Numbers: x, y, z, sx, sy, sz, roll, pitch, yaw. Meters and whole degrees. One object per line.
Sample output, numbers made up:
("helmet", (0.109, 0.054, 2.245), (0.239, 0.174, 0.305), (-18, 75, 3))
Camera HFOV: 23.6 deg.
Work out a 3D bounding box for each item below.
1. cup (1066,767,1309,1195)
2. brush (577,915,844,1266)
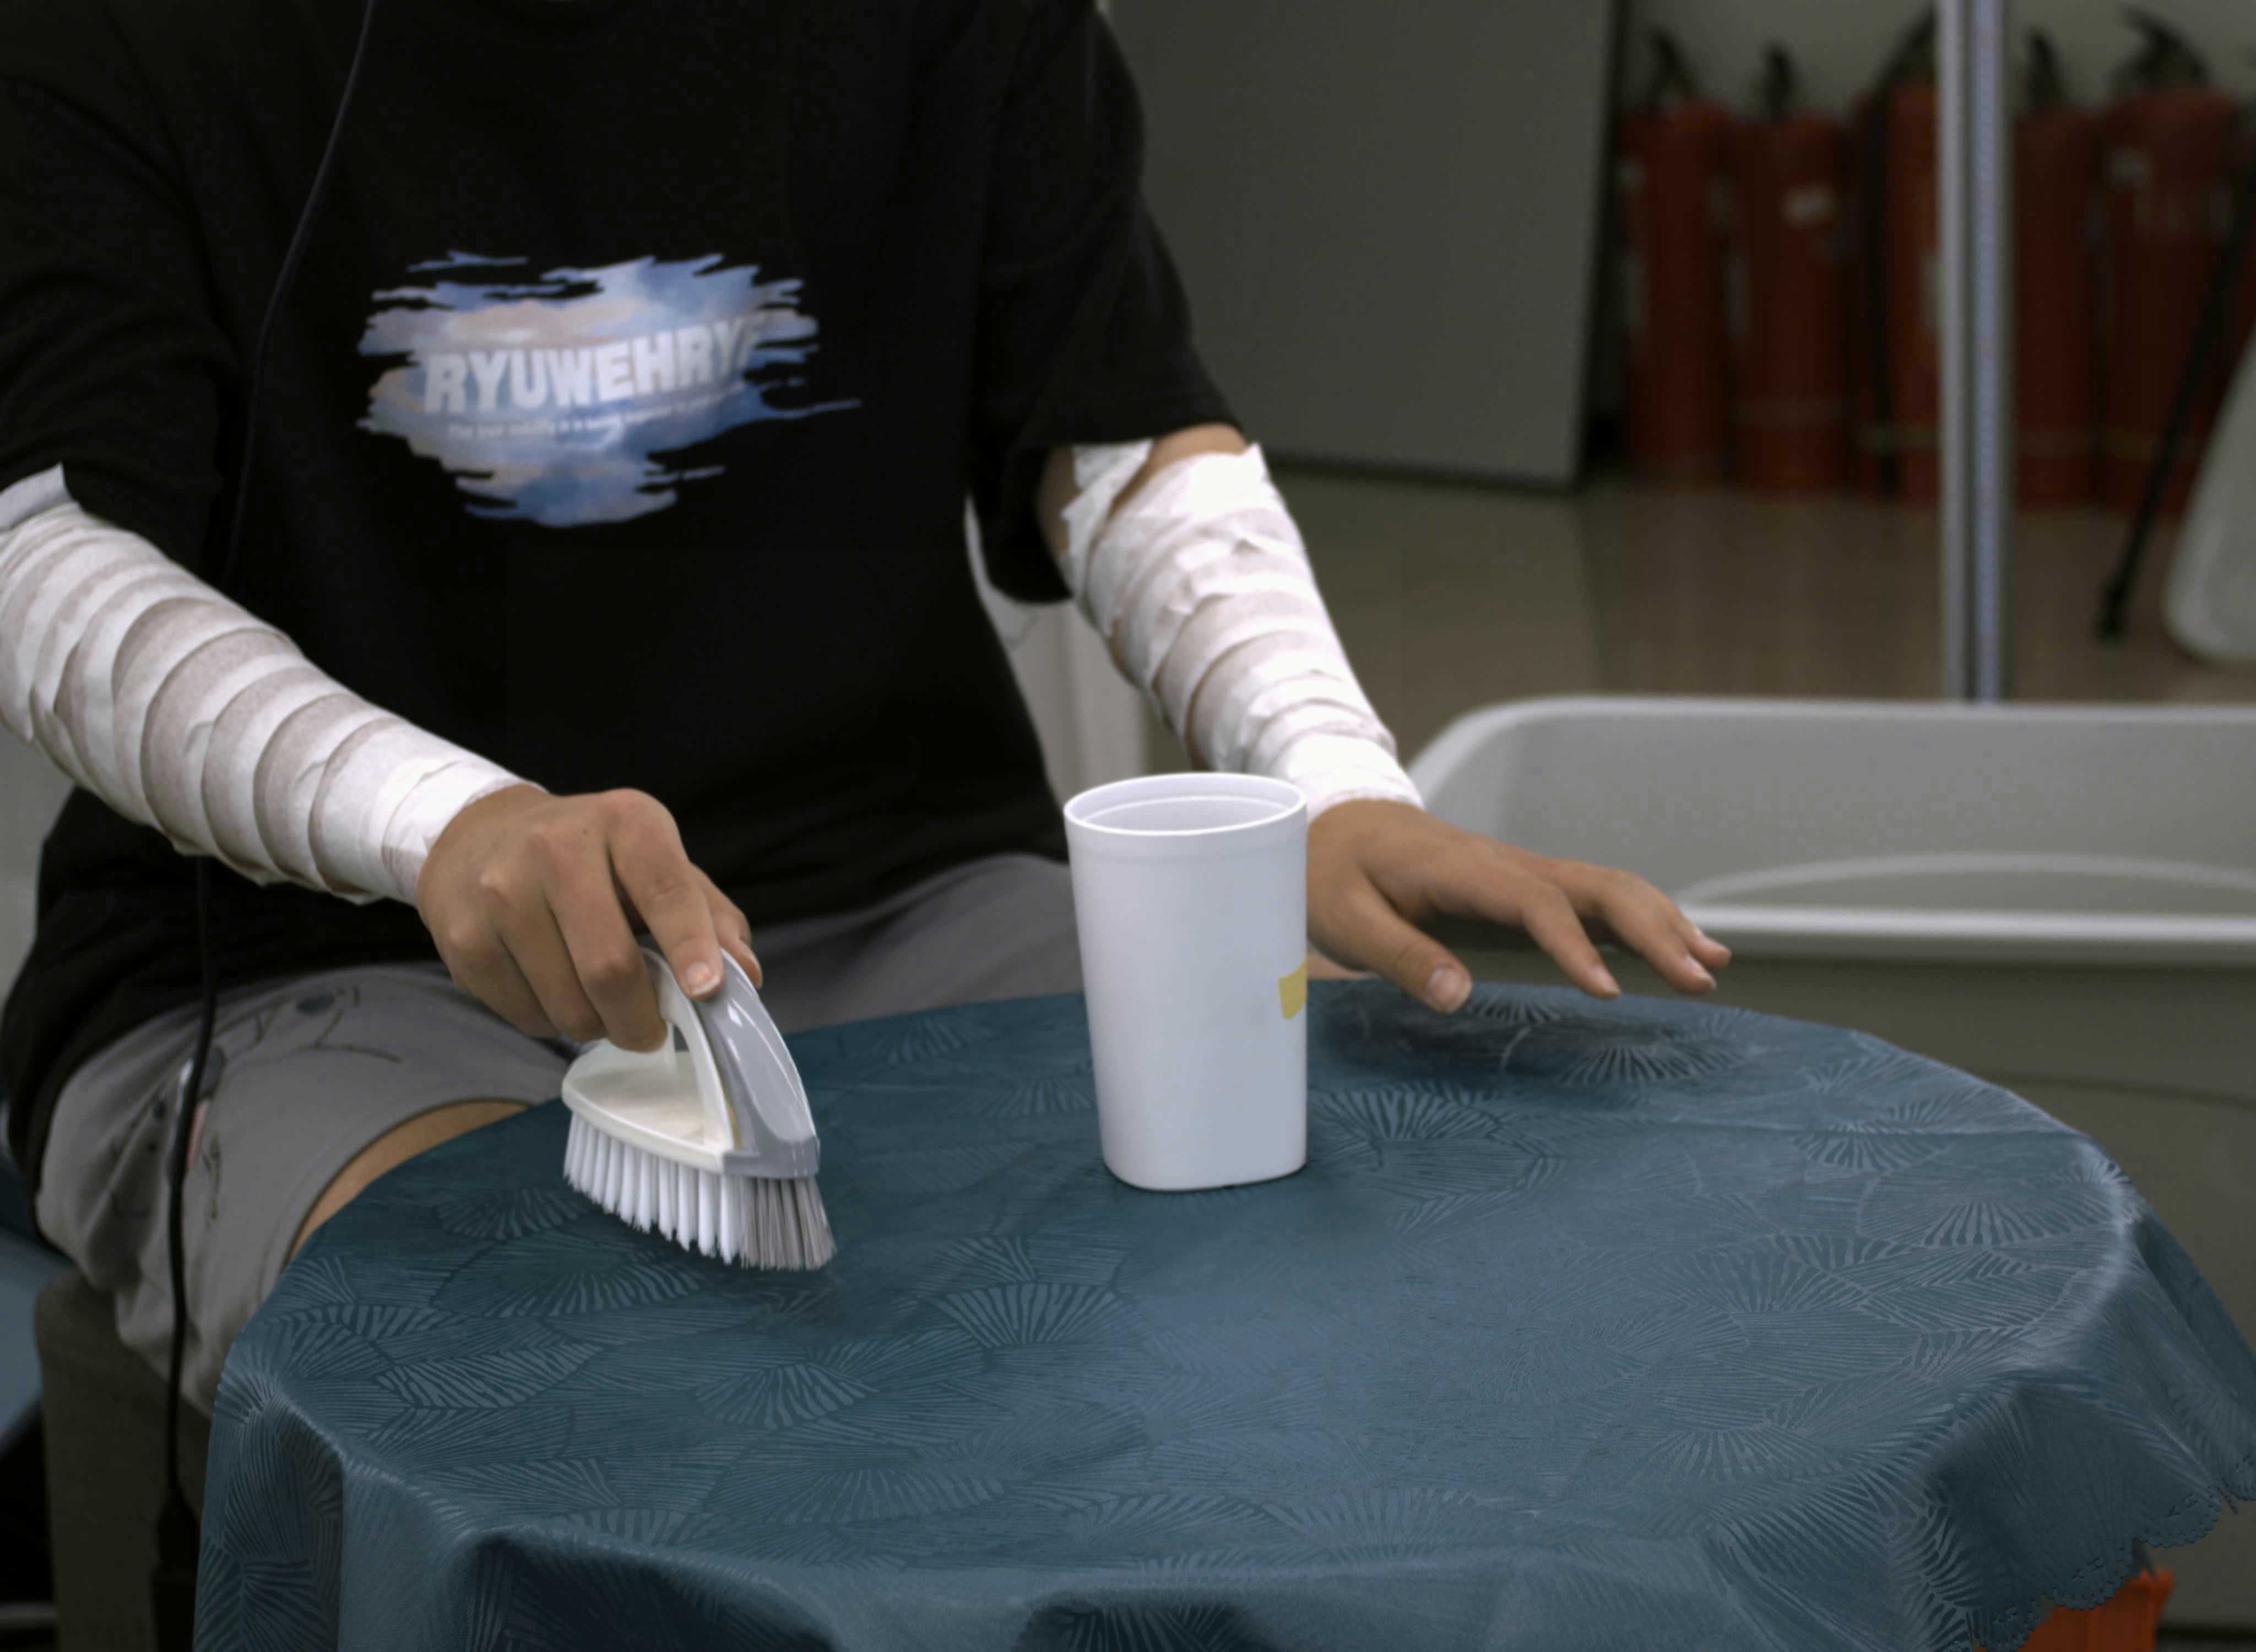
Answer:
("cup", (0.023, 0.051, 1.786), (0.080, 0.127, 0.082), (-4, 15, 0))
("brush", (-0.130, 0.081, 1.722), (0.060, 0.095, 0.177), (-13, 14, -20))
